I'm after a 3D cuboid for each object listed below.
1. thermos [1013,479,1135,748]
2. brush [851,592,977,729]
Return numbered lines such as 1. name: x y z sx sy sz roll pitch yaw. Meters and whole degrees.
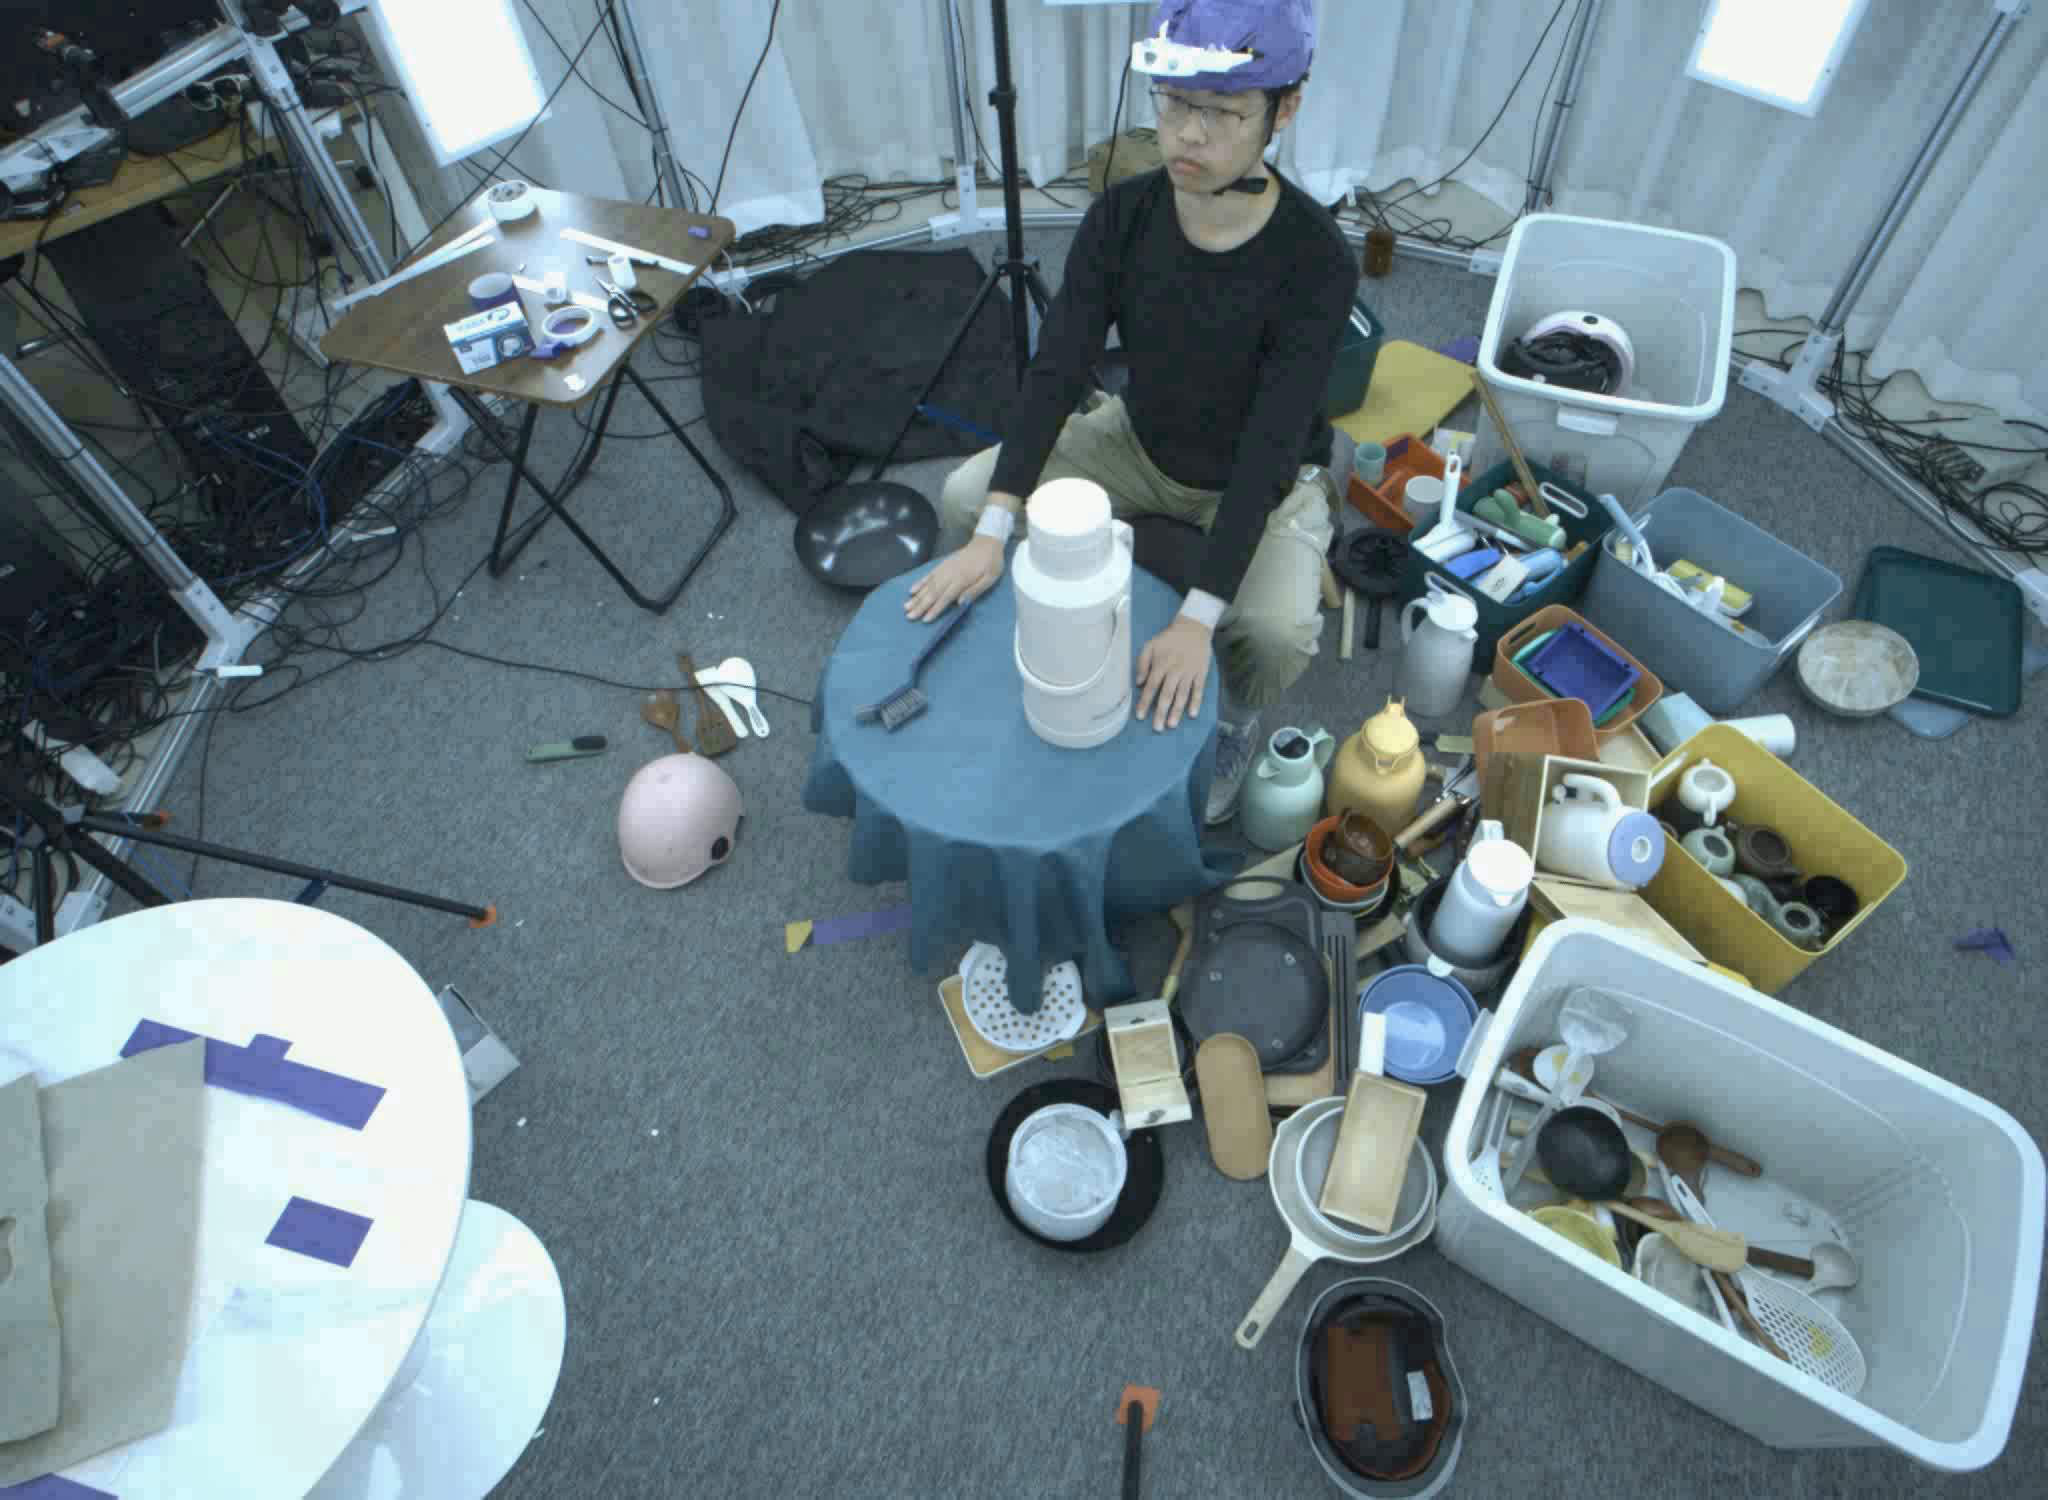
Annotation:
1. thermos: 0.080 -0.190 1.675 0.172 0.411 0.208 31 63 25
2. brush: -0.161 -0.144 1.874 0.095 0.034 0.273 21 60 14
